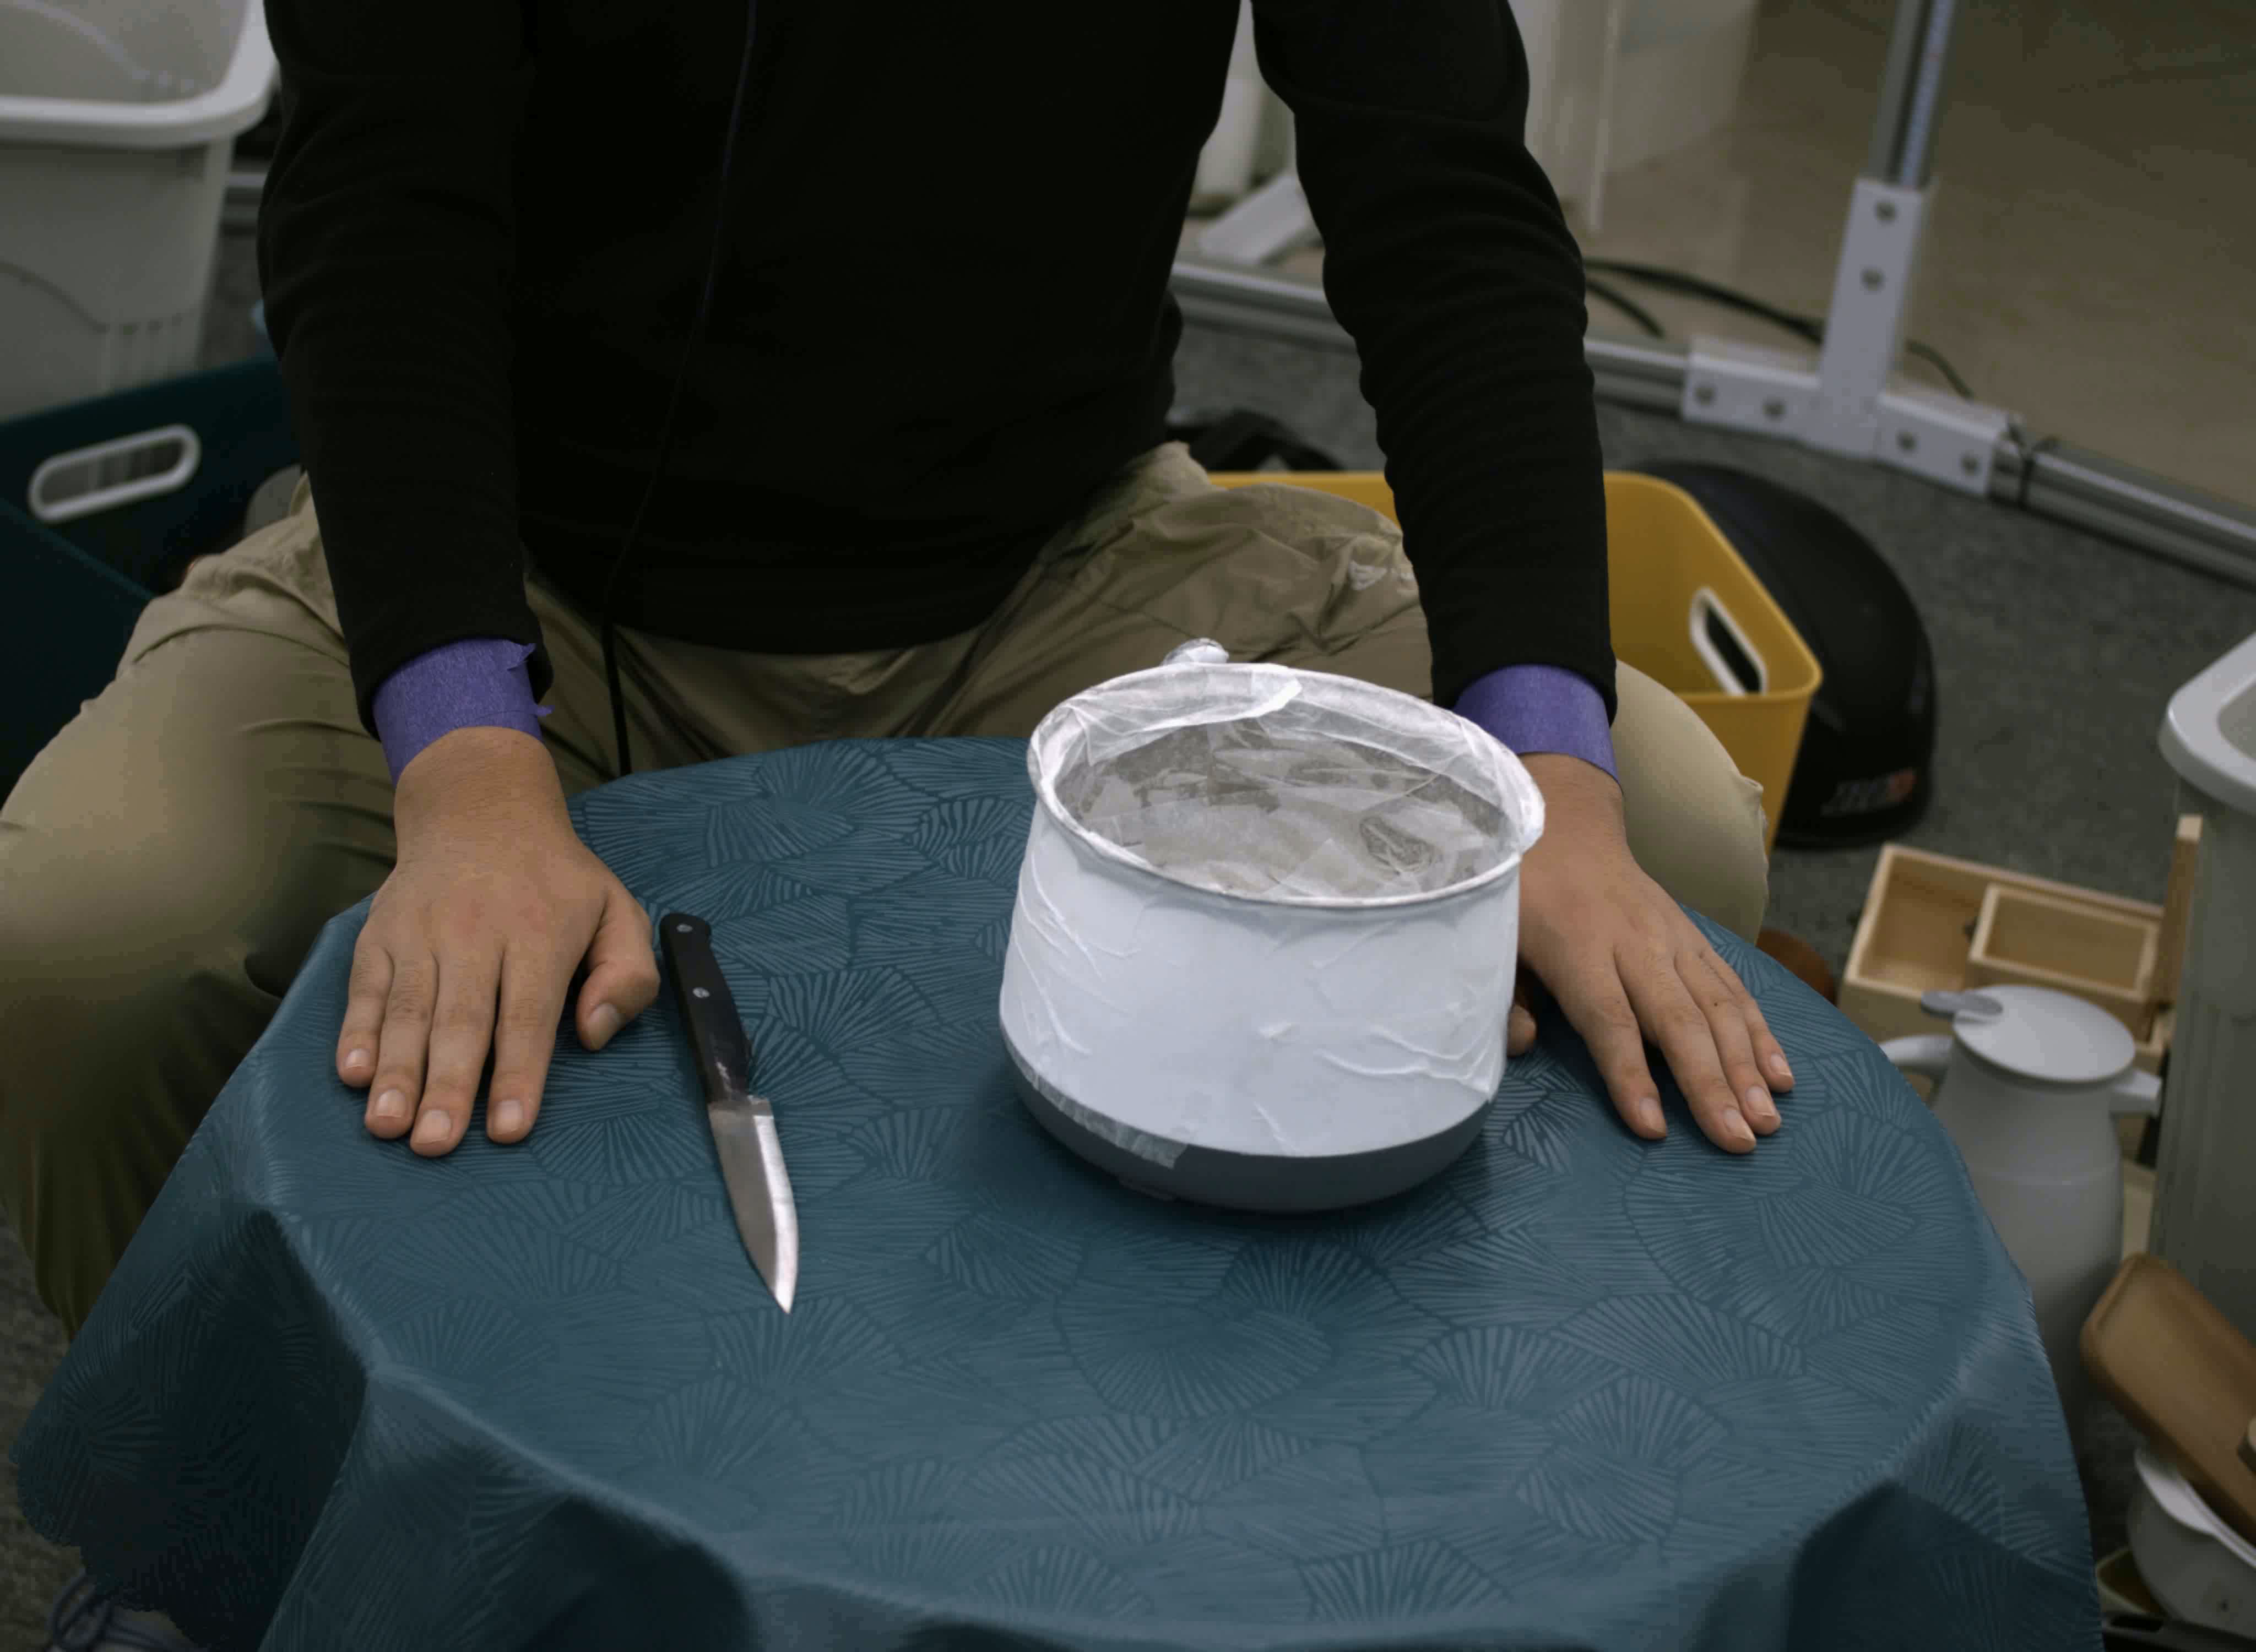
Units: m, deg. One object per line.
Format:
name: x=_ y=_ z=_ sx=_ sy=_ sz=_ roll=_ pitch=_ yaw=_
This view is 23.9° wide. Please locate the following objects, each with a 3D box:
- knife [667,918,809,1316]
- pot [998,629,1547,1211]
knife: x=-0.134 y=0.098 z=1.814 sx=0.024 sy=0.016 sz=0.240 roll=0 pitch=30 yaw=-14
pot: x=0.039 y=0.025 z=1.852 sx=0.177 sy=0.136 sz=0.236 roll=-2 pitch=29 yaw=-18
